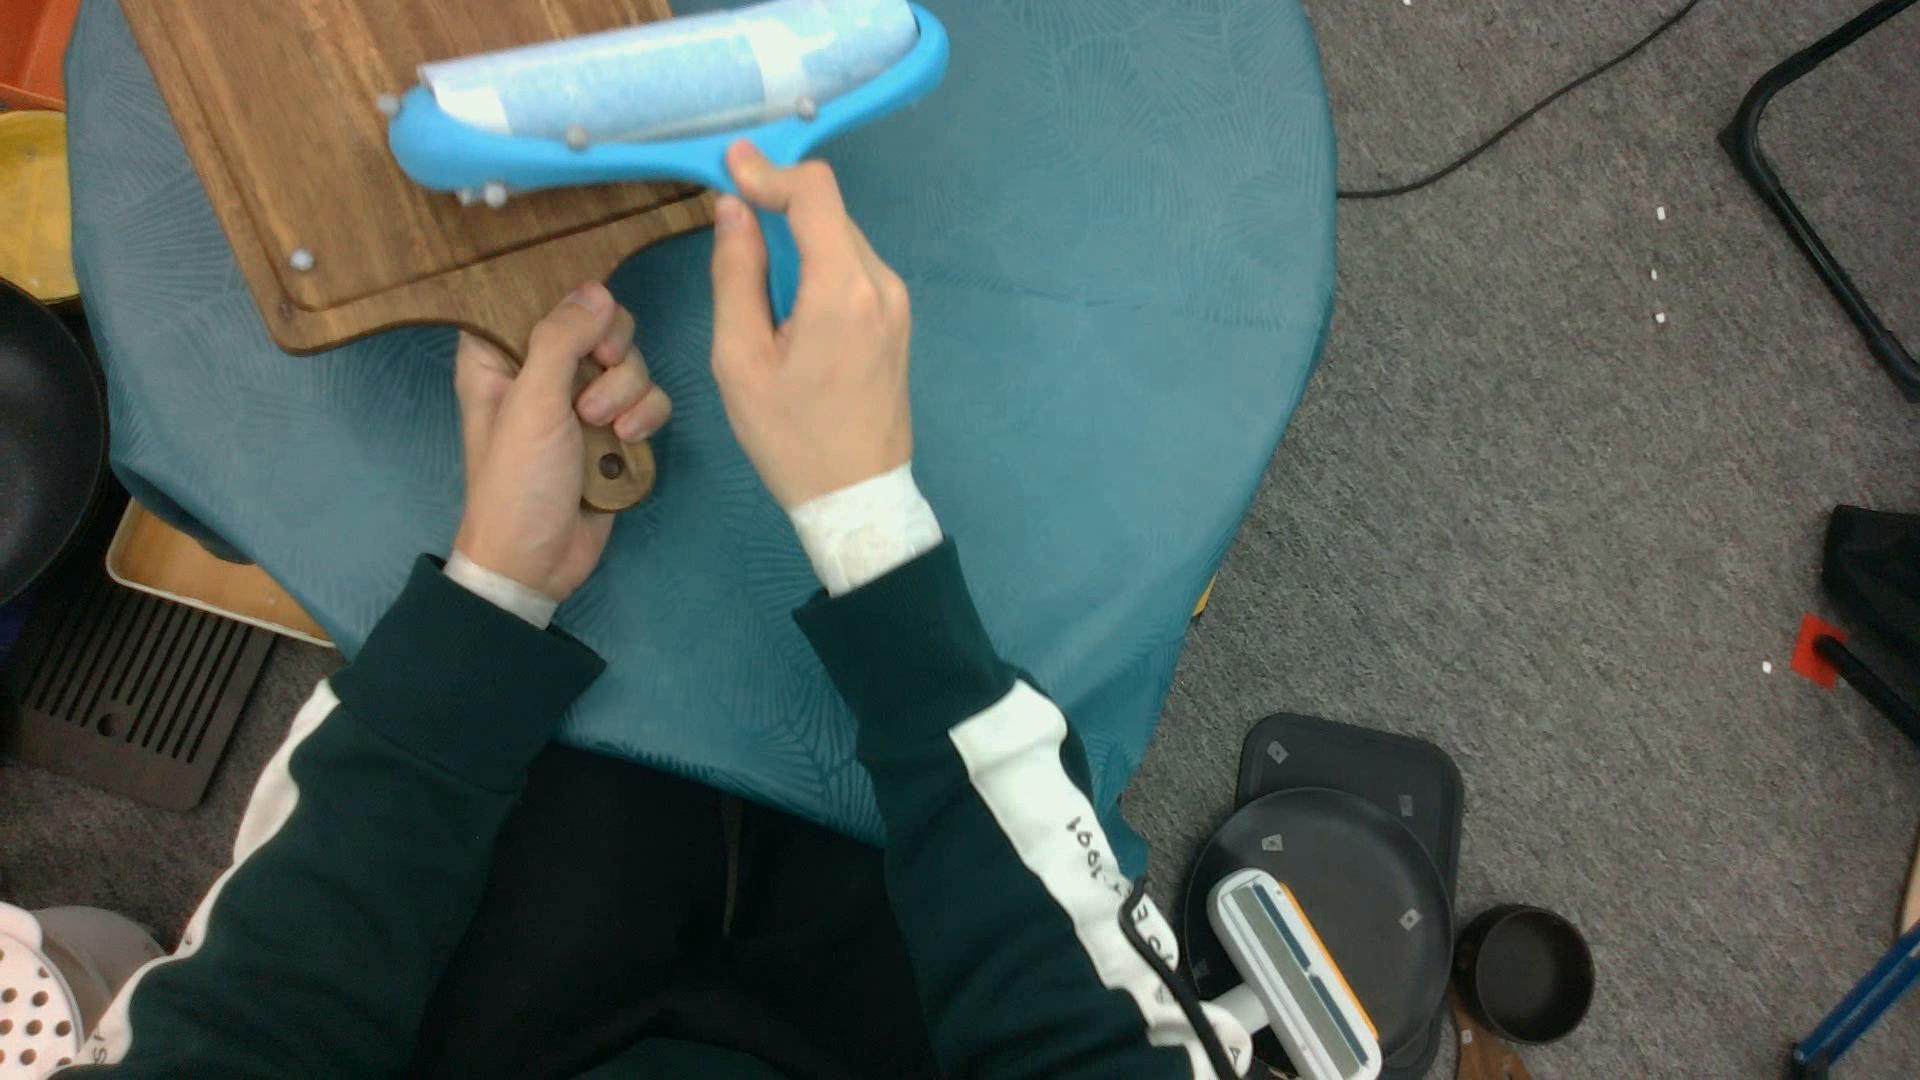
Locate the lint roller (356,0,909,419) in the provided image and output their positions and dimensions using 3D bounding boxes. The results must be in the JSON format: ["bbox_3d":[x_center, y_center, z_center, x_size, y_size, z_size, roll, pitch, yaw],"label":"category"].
[{"bbox_3d":[-0.096,-0.138,0.545,0.230,0.067,0.180,-25,76,-26],"label":"lint roller"}]

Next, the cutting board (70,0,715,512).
[{"bbox_3d":[-0.215,-0.172,0.554,0.202,0.023,0.351,-27,101,-23],"label":"cutting board"}]
